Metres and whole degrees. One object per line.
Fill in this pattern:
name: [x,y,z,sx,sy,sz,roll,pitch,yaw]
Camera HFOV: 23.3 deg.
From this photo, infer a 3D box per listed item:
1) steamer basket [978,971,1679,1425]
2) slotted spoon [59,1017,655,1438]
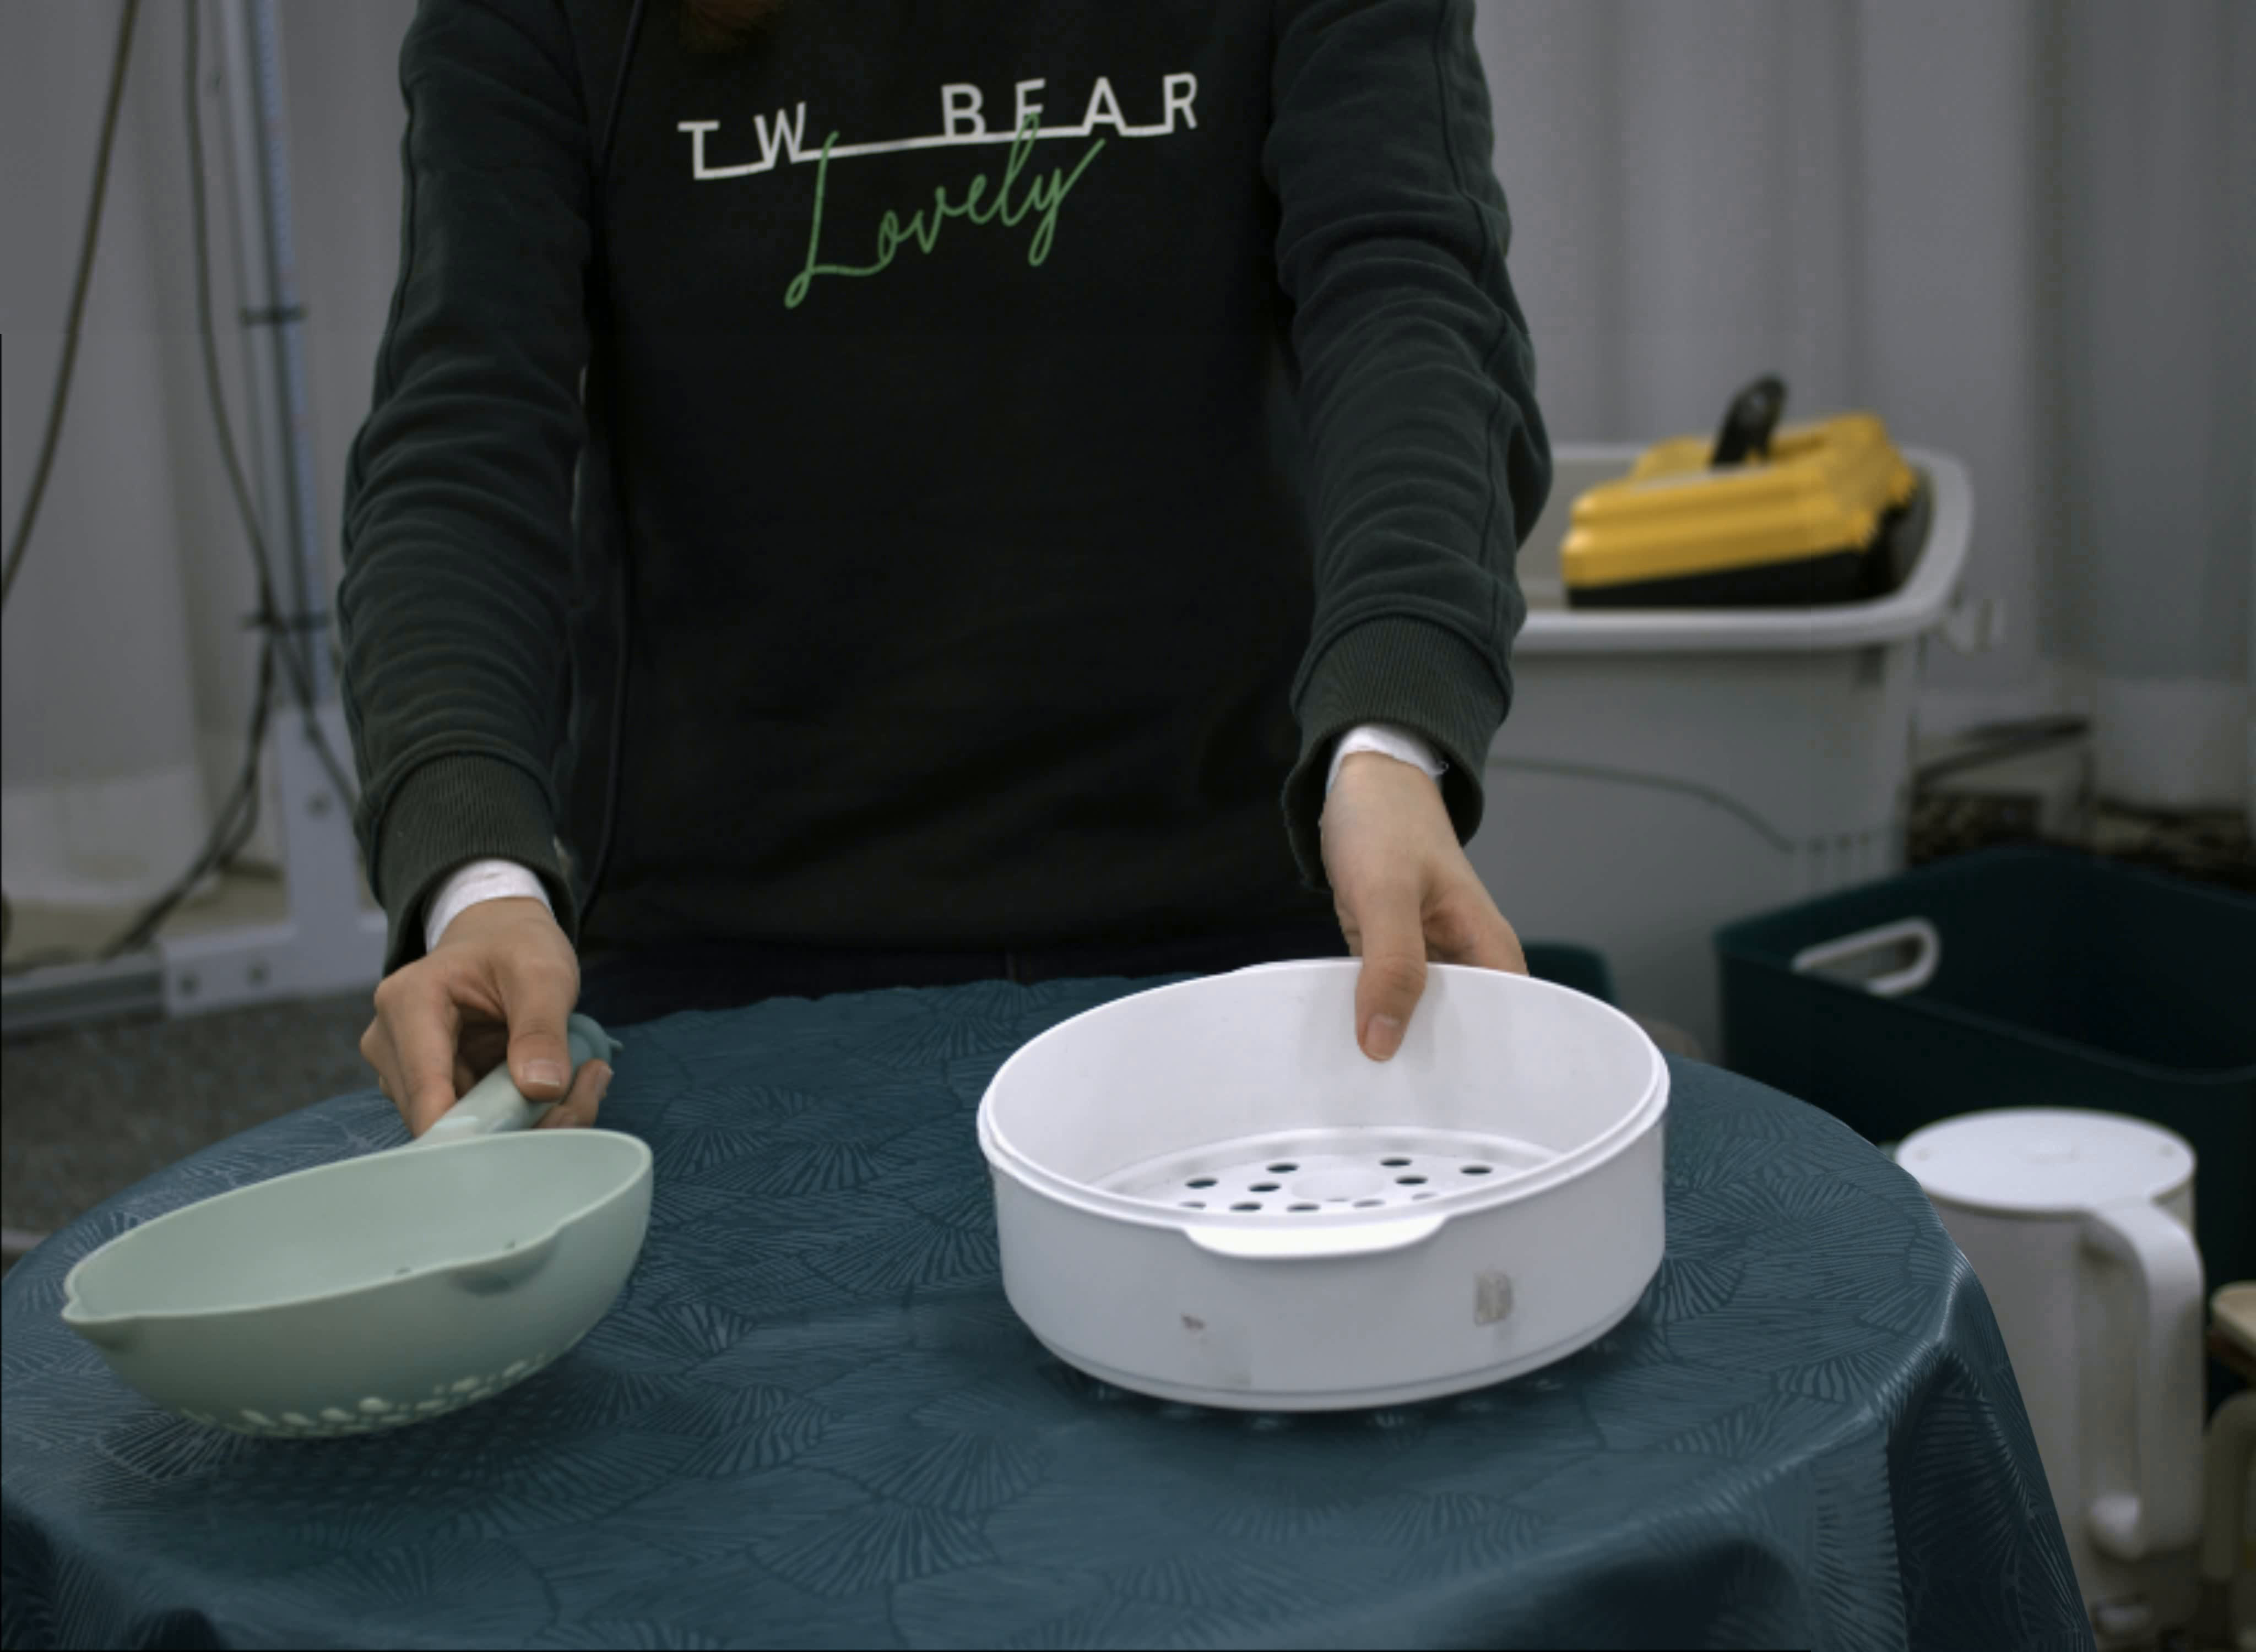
steamer basket: [0.059,0.107,1.578,0.201,0.069,0.232,-2,18,3]
slotted spoon: [-0.200,0.103,1.634,0.169,0.075,0.361,-9,17,9]
